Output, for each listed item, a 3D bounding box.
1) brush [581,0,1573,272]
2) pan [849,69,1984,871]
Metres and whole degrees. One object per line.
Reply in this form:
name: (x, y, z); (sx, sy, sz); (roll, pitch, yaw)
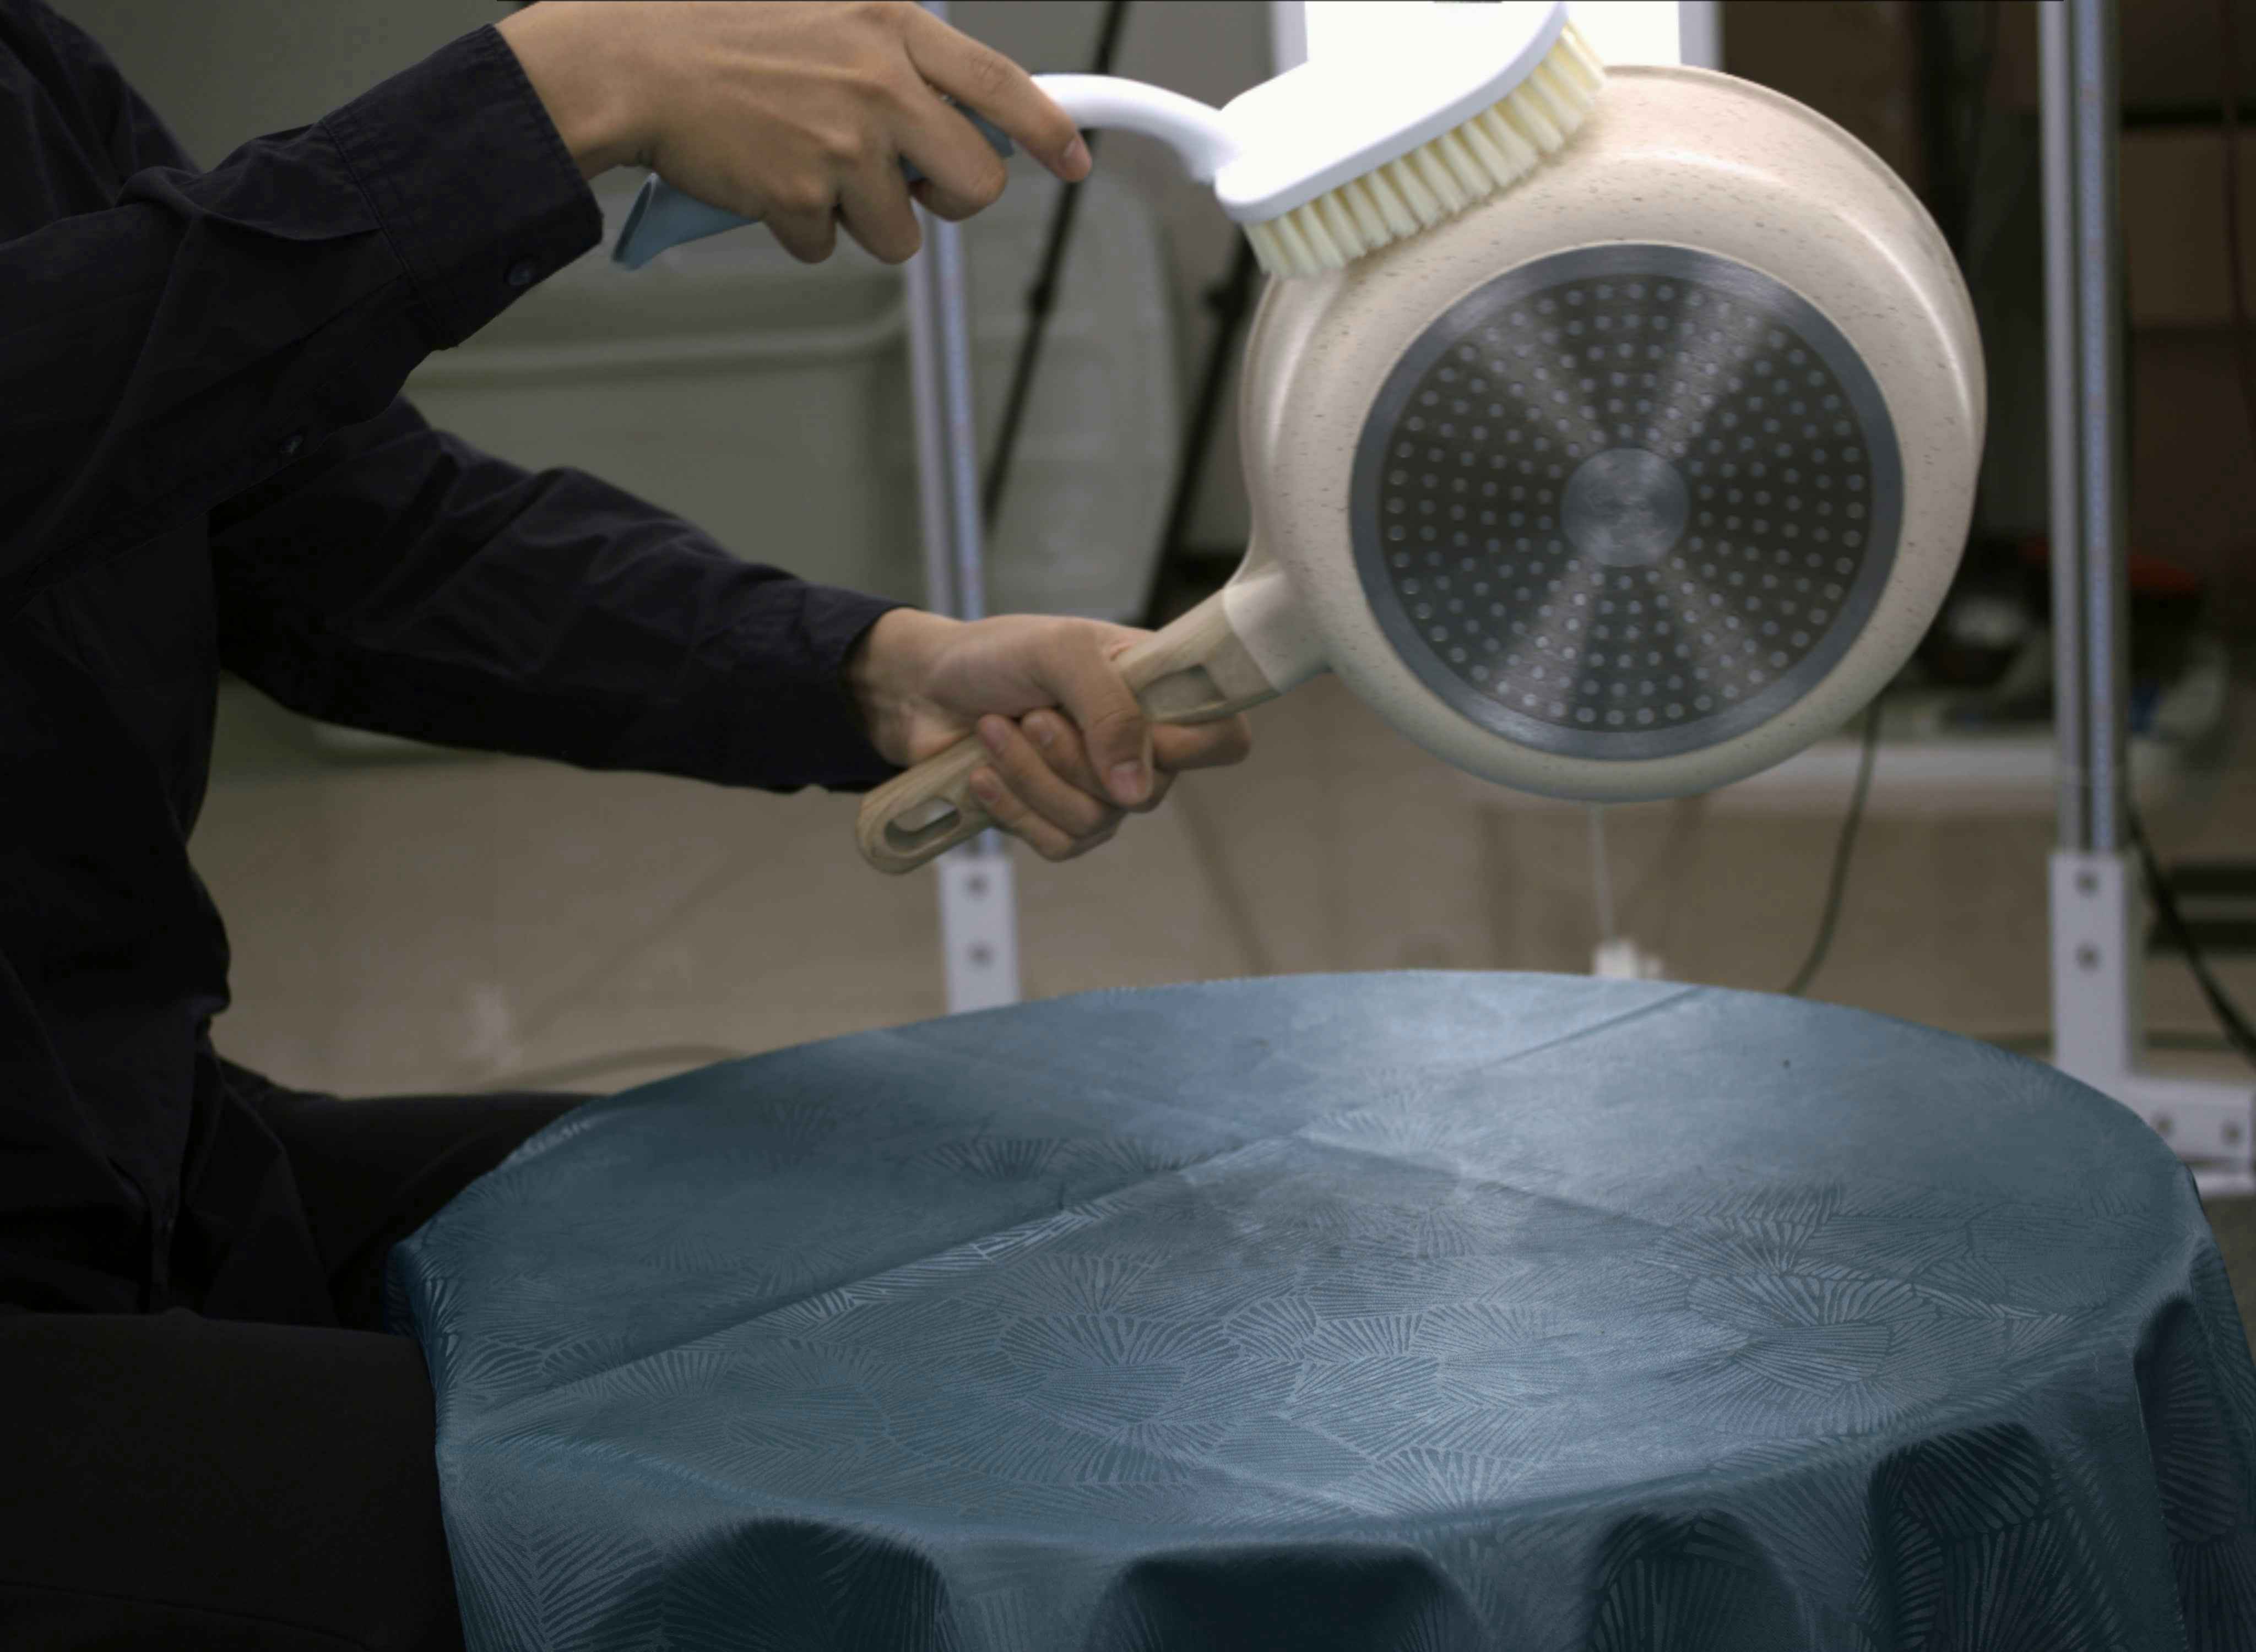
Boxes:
brush: (-0.013, -0.204, 1.770); (0.326, 0.085, 0.082); (-14, -3, 7)
pan: (0.088, -0.077, 1.842); (0.440, 0.261, 0.101); (-30, 22, 17)
